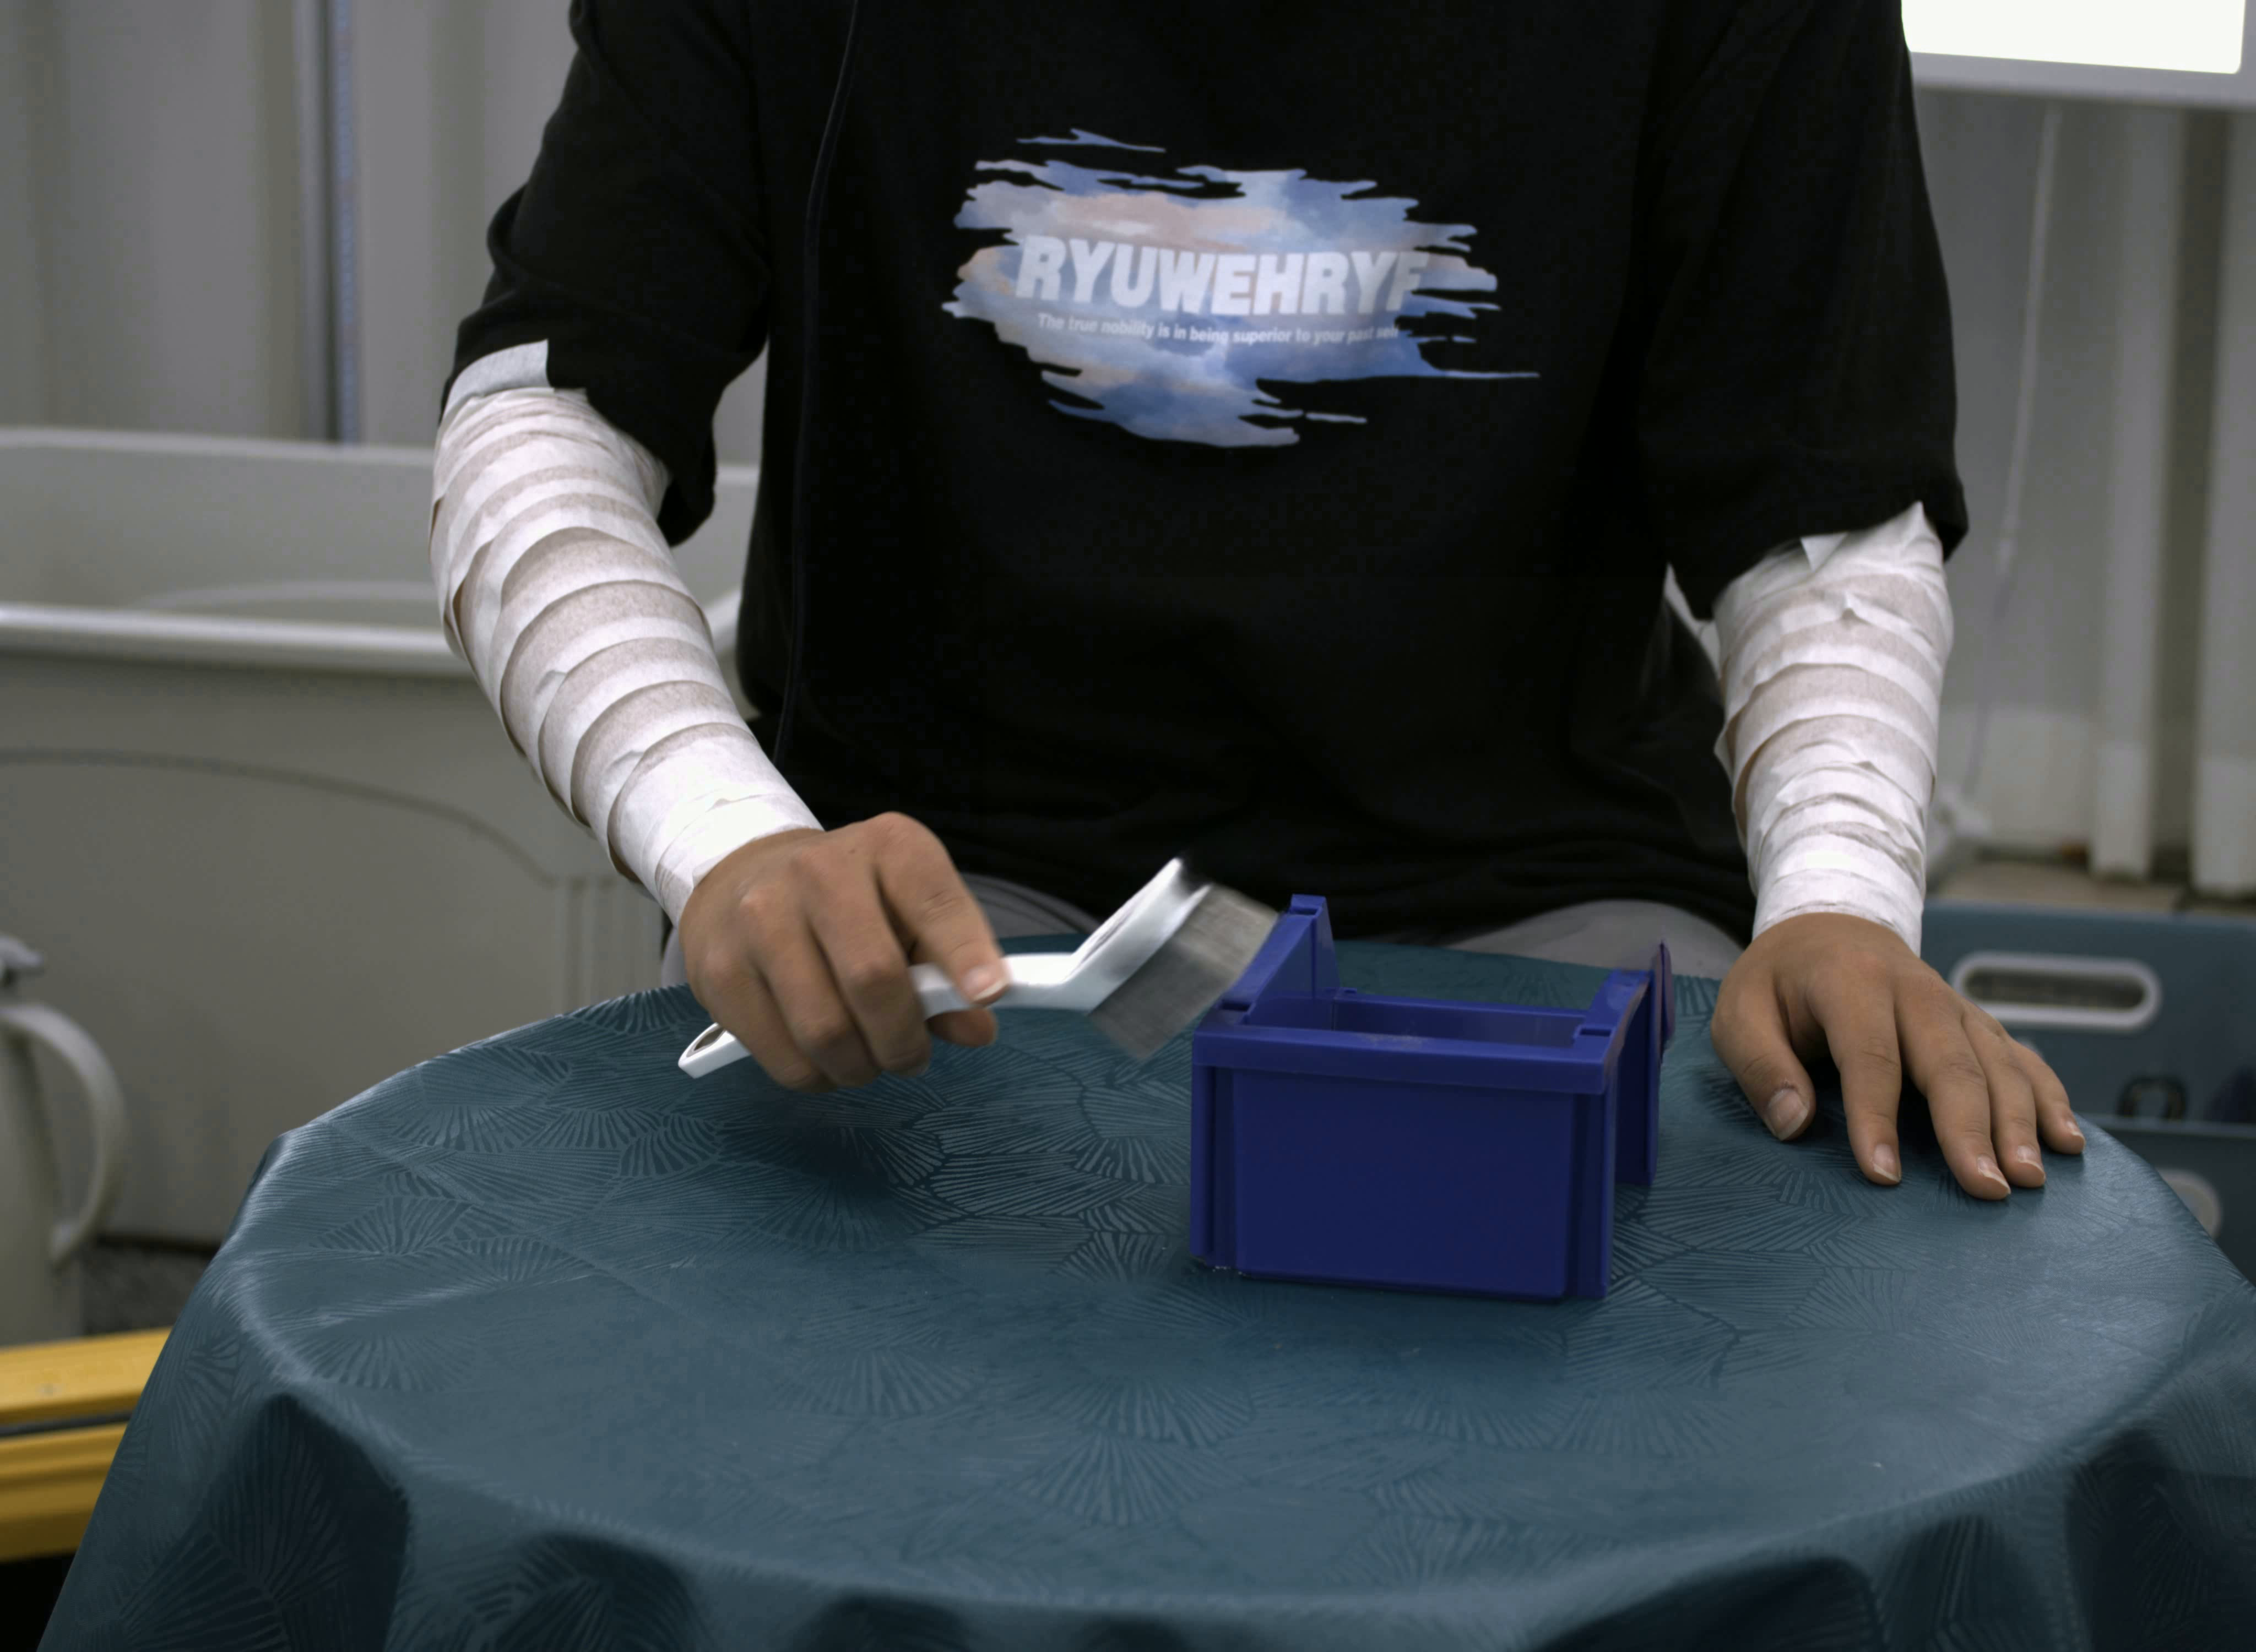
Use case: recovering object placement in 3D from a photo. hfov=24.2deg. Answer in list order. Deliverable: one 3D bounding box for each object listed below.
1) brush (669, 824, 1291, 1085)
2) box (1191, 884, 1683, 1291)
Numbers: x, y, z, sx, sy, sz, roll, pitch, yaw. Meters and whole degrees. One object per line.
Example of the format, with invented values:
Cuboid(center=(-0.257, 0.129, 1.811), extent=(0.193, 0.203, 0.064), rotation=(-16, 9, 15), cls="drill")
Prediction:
Cuboid(center=(-0.047, 0.056, 1.598), extent=(0.242, 0.050, 0.034), rotation=(-22, 23, 40), cls="brush")
Cuboid(center=(0.096, 0.075, 1.609), extent=(0.123, 0.082, 0.179), rotation=(4, 17, 13), cls="box")
